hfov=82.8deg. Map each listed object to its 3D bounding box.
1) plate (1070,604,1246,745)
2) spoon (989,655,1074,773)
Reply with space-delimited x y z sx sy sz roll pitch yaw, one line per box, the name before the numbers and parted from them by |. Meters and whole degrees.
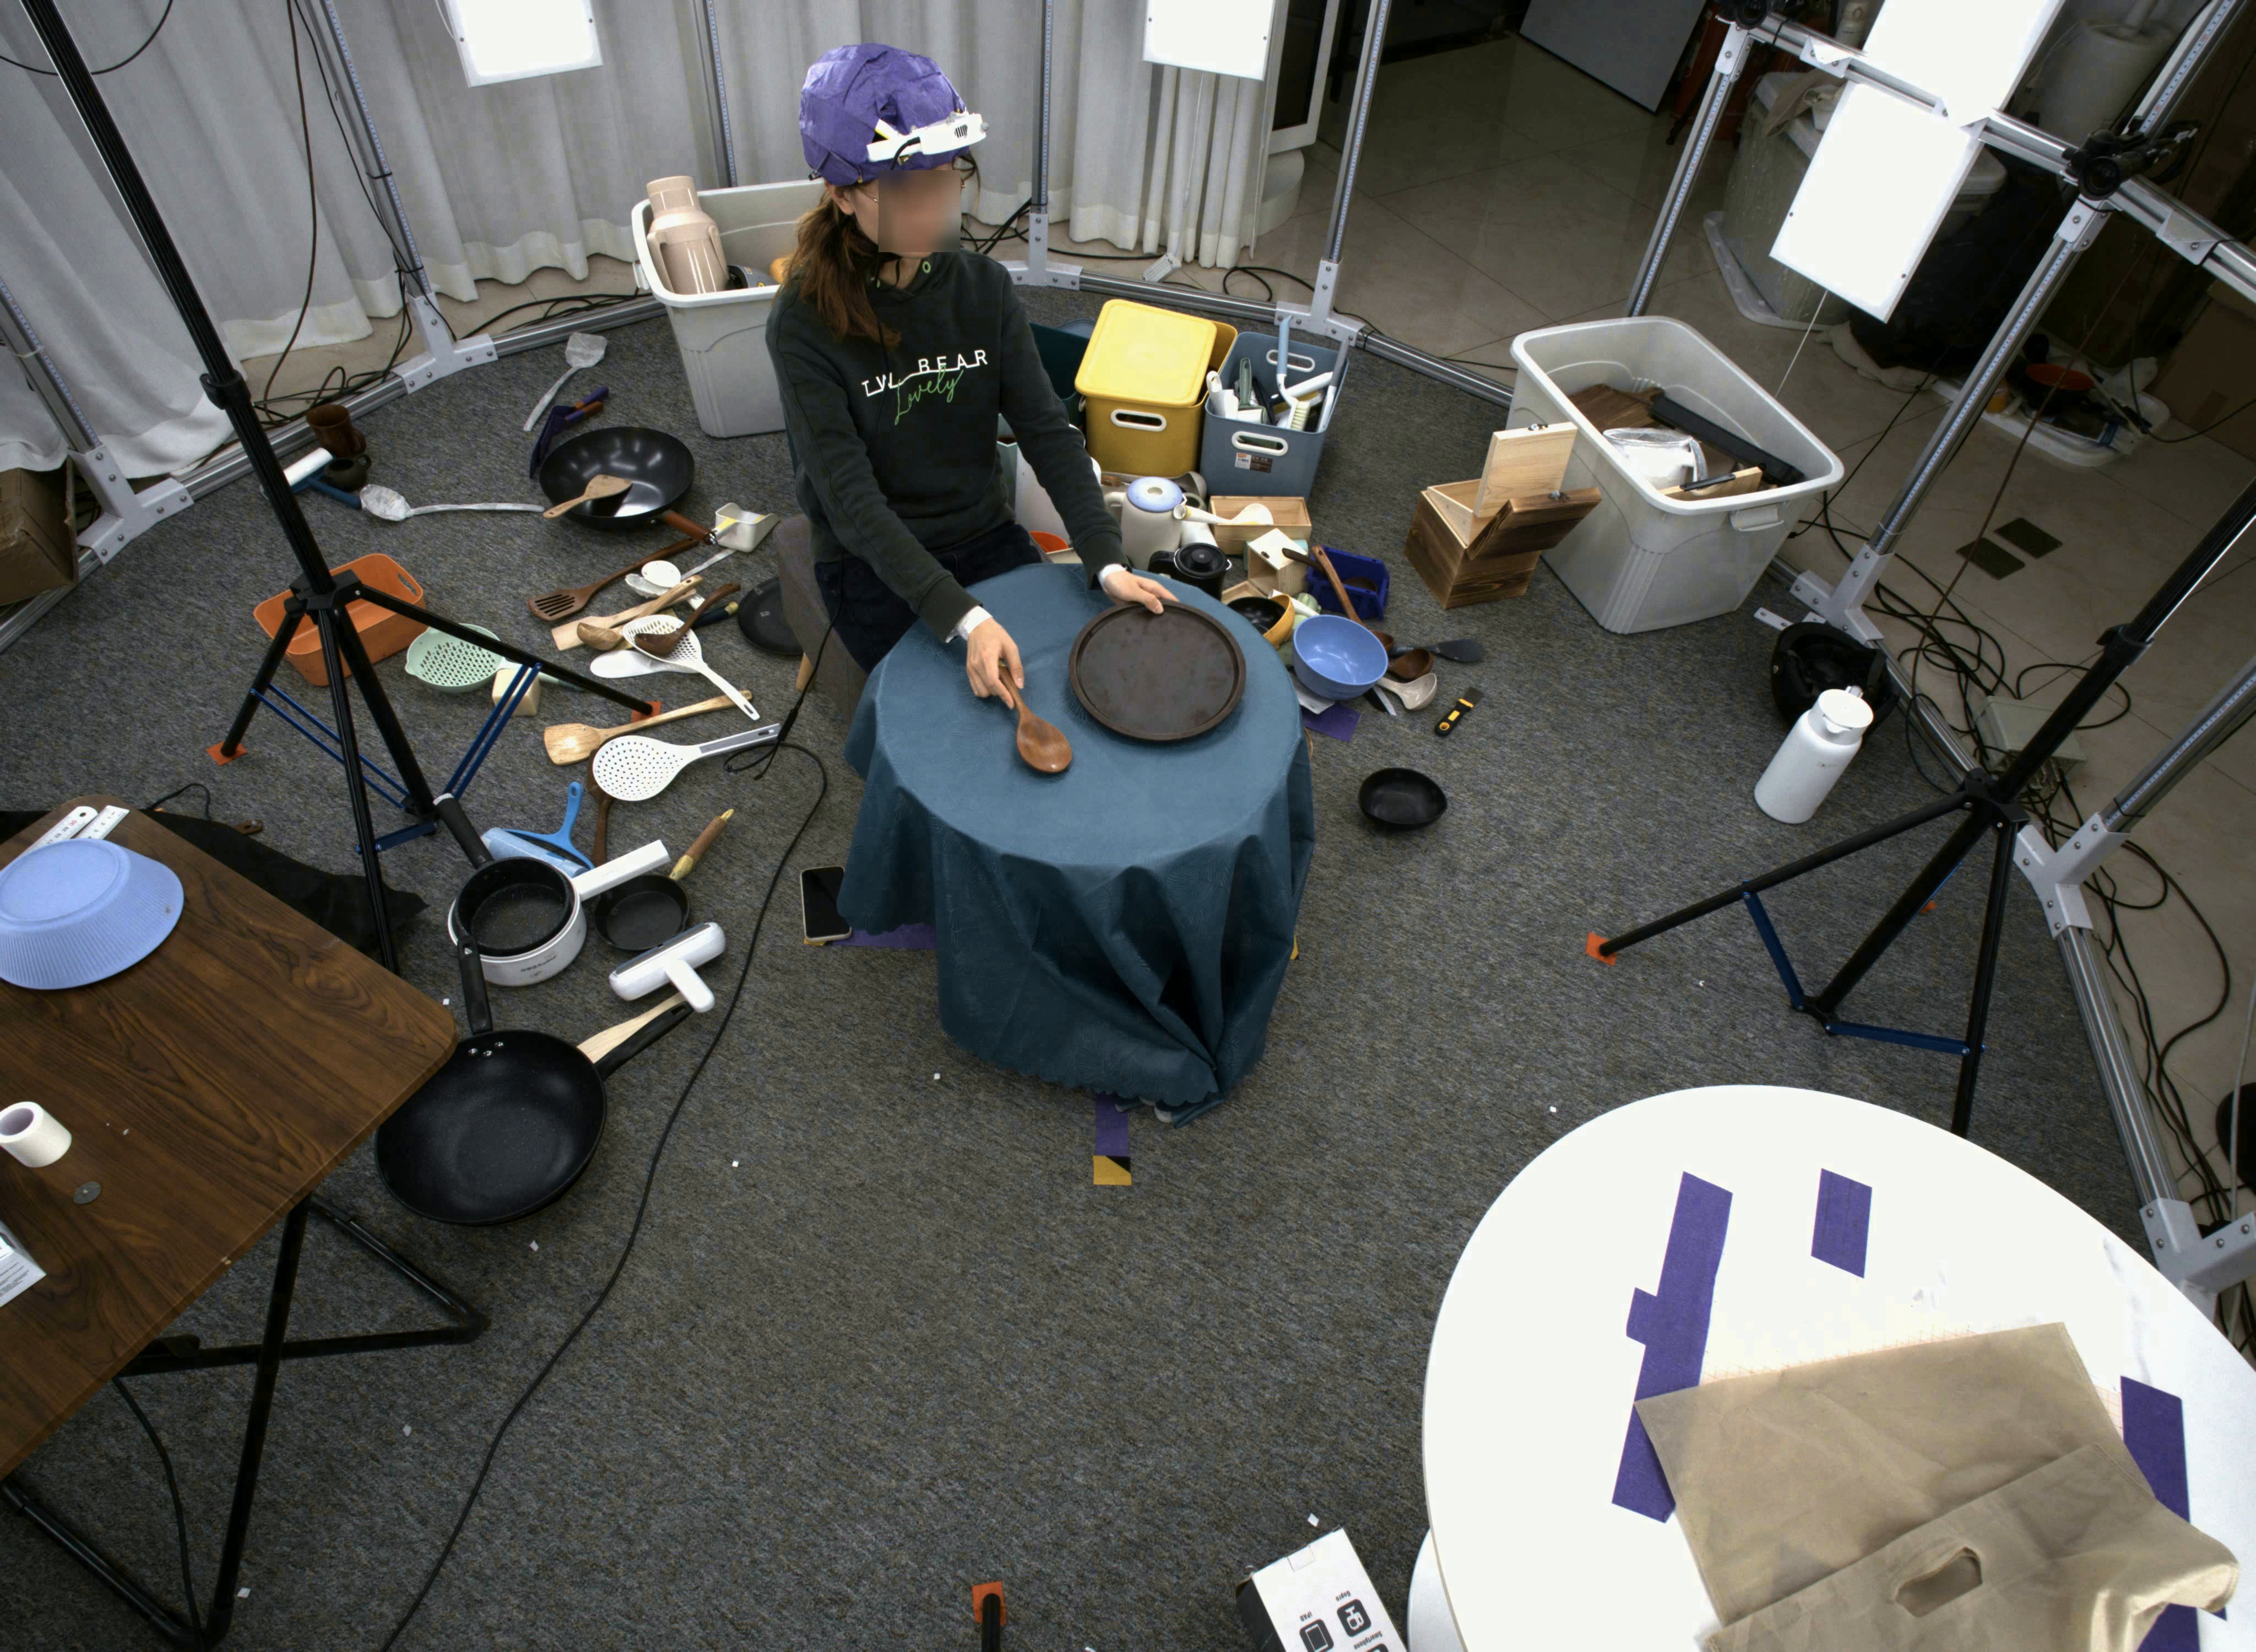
plate | 0.043 -0.220 1.843 0.254 0.028 0.260 2 57 -3
spoon | -0.141 -0.155 1.780 0.075 0.017 0.220 -14 59 -29
